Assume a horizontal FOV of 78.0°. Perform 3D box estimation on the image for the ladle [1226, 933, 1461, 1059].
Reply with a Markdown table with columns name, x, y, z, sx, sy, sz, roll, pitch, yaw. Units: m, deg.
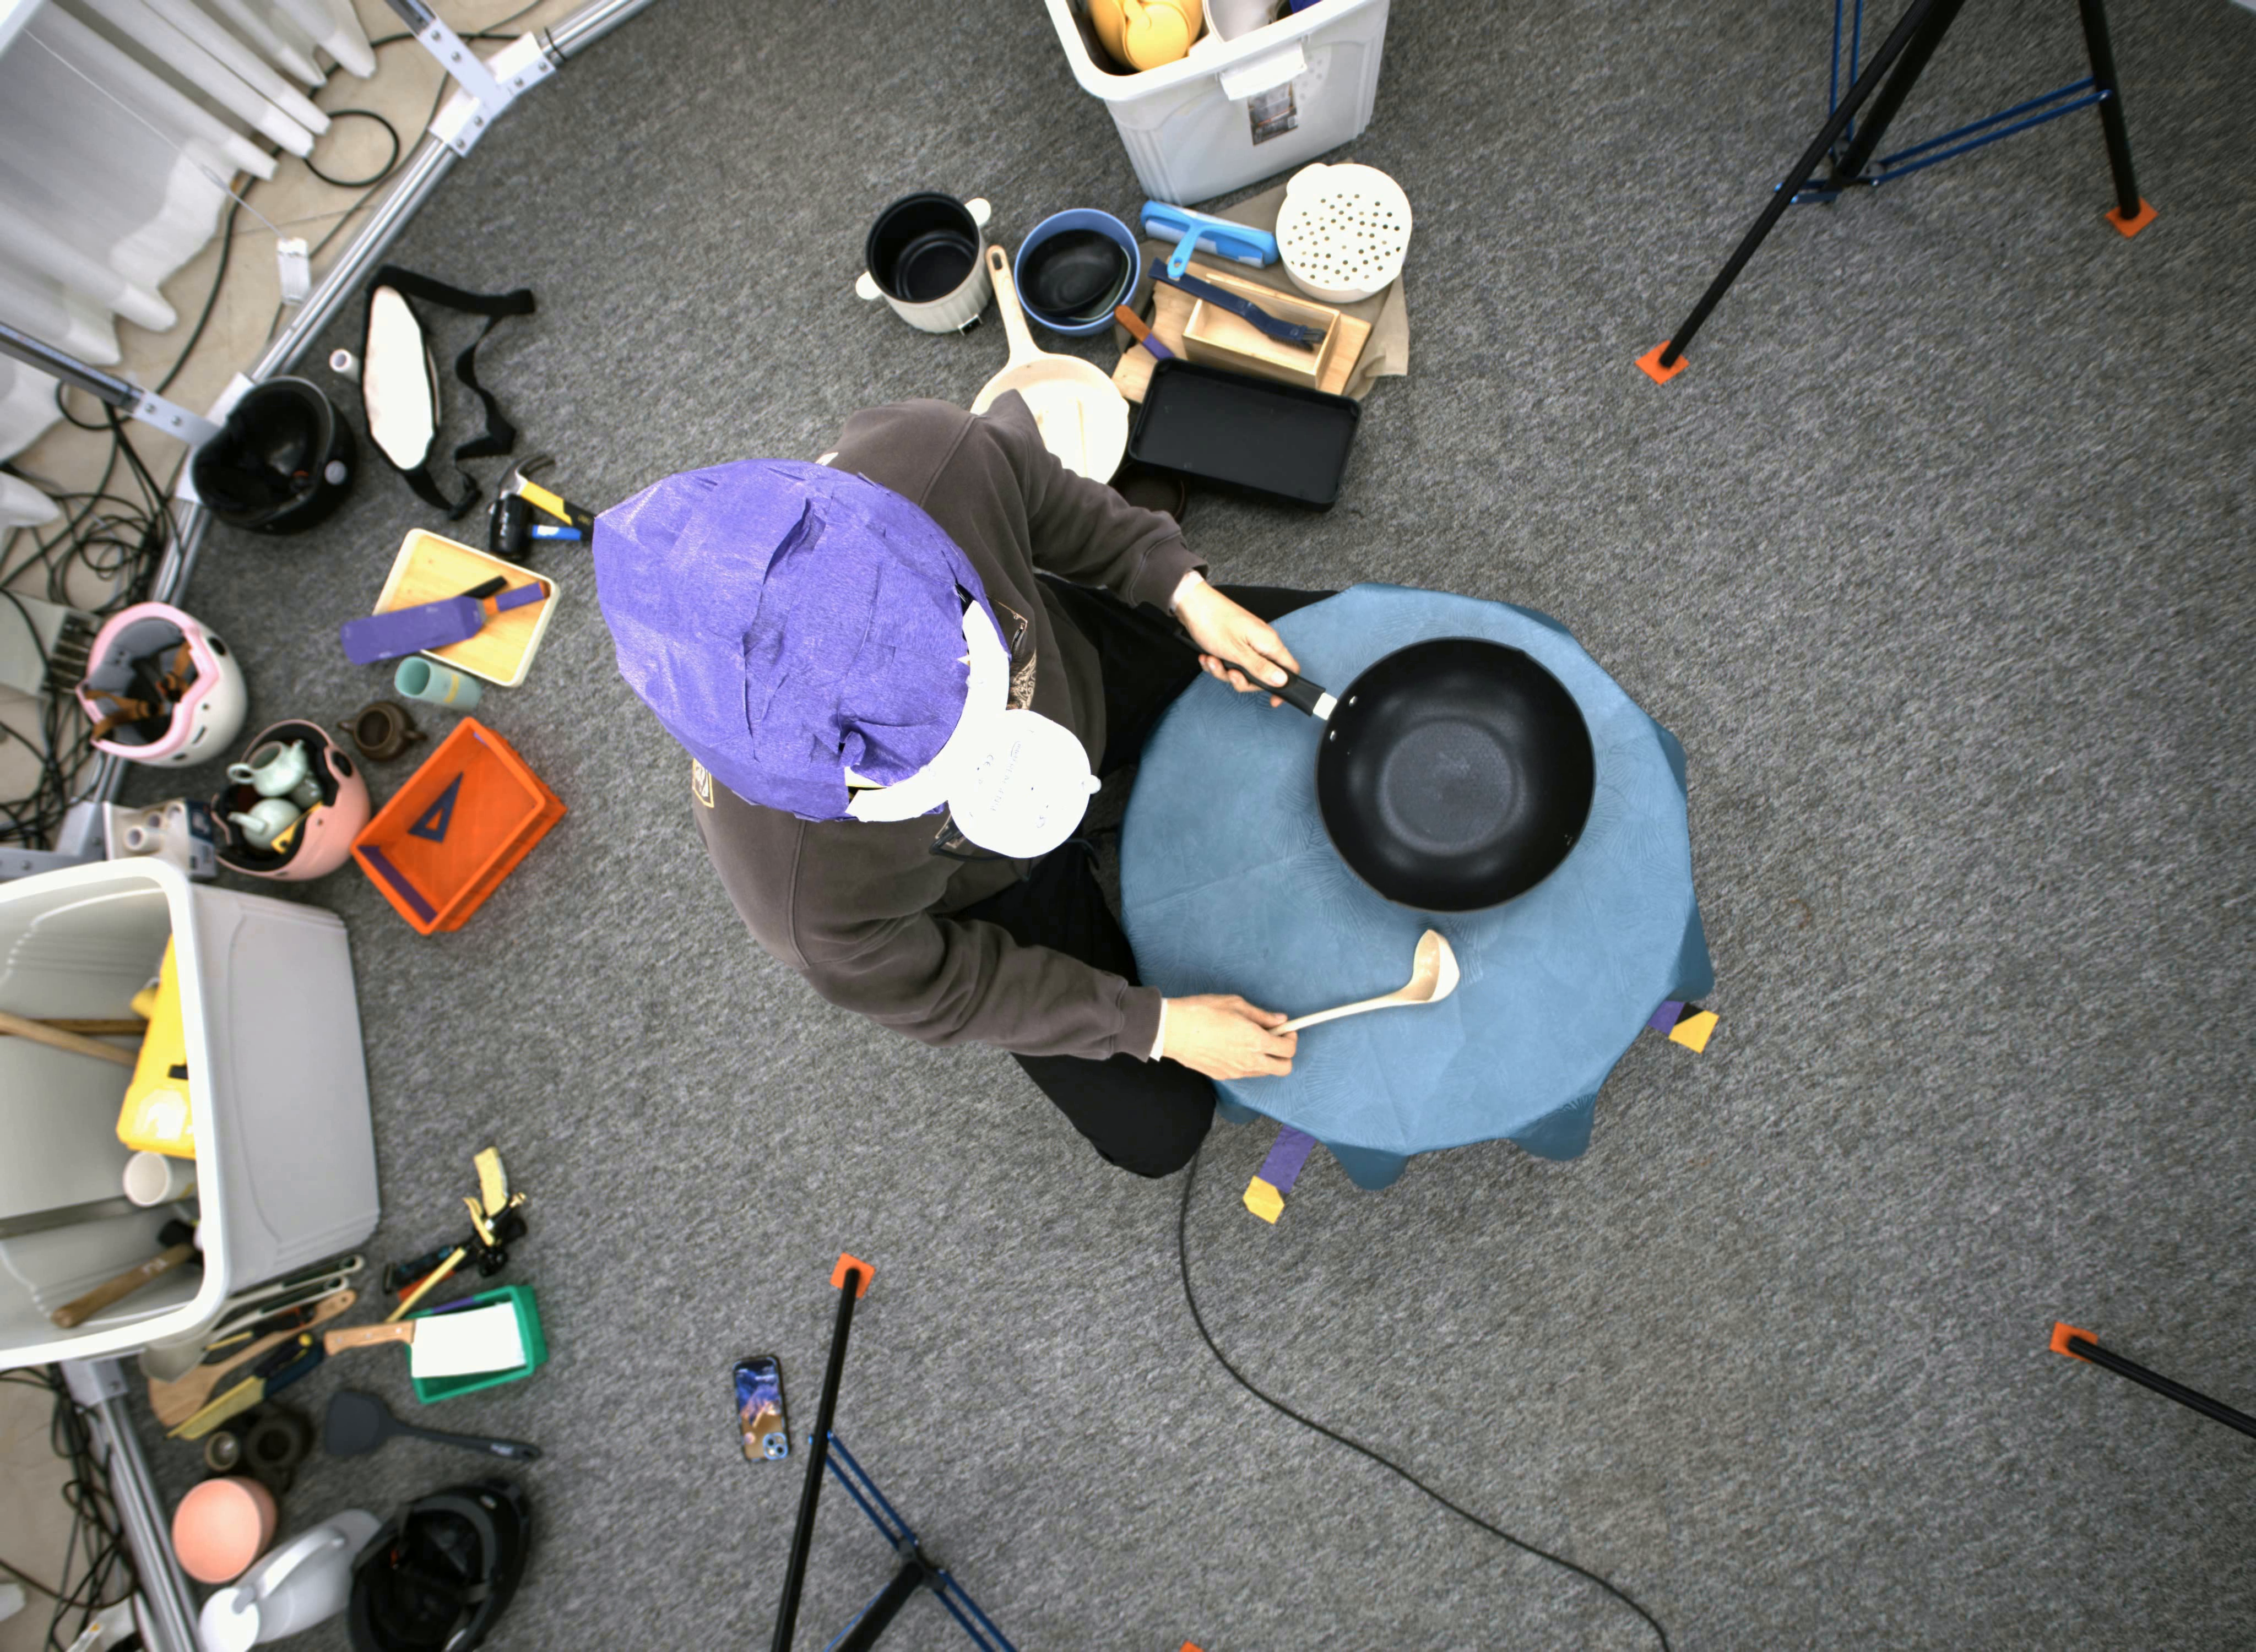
| name | x | y | z | sx | sy | sz | roll | pitch | yaw |
| --- | --- | --- | --- | --- | --- | --- | --- | --- | --- |
| ladle | 0.214 | 0.176 | 1.419 | 0.255 | 0.074 | 0.070 | -19 | 48 | 4 |

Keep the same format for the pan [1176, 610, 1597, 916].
| name | x | y | z | sx | sy | sz | roll | pitch | yaw |
| --- | --- | --- | --- | --- | --- | --- | --- | --- | --- |
| pan | 0.253 | -0.094 | 1.425 | 0.462 | 0.087 | 0.289 | 30 | 93 | 11 |
